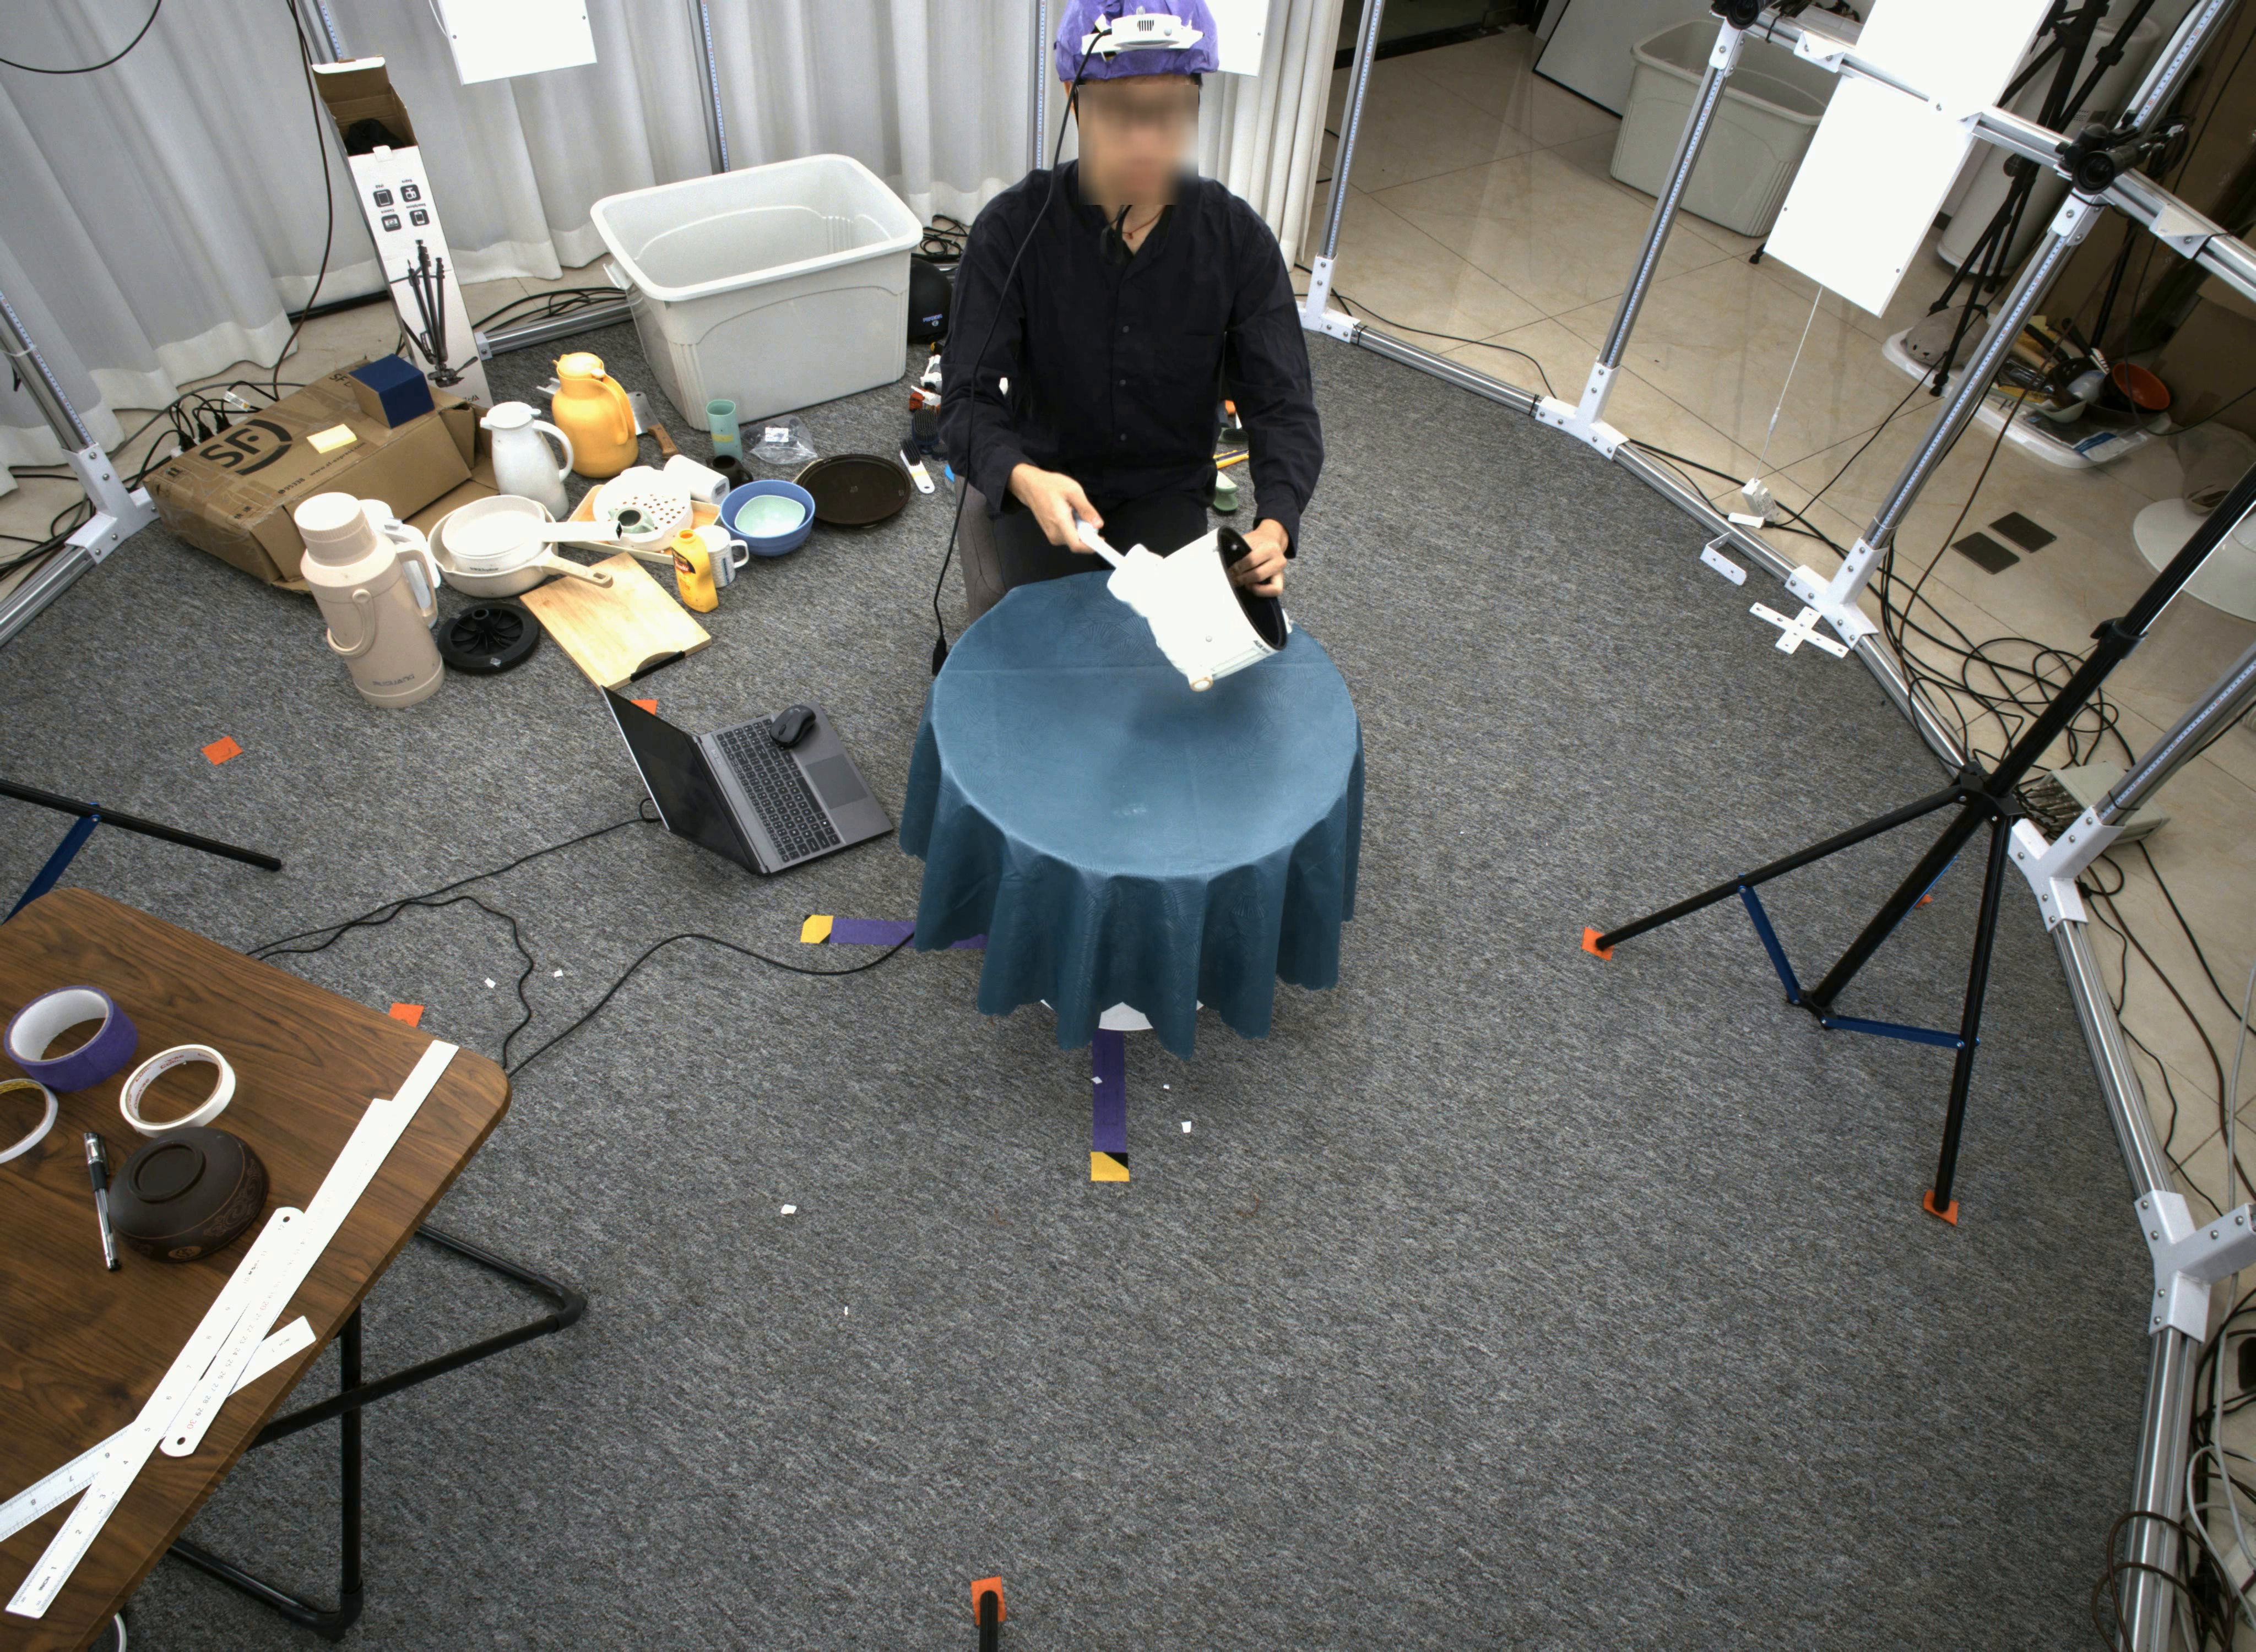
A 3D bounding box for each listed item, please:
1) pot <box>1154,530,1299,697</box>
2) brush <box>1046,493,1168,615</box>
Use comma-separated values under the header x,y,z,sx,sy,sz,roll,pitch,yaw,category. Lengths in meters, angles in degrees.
x,y,z,sx,sy,sz,roll,pitch,yaw,category
0.127,-0.278,1.721,0.142,0.237,0.194,-27,61,23,pot
-0.019,-0.364,1.706,0.083,0.082,0.333,-22,38,-9,brush
